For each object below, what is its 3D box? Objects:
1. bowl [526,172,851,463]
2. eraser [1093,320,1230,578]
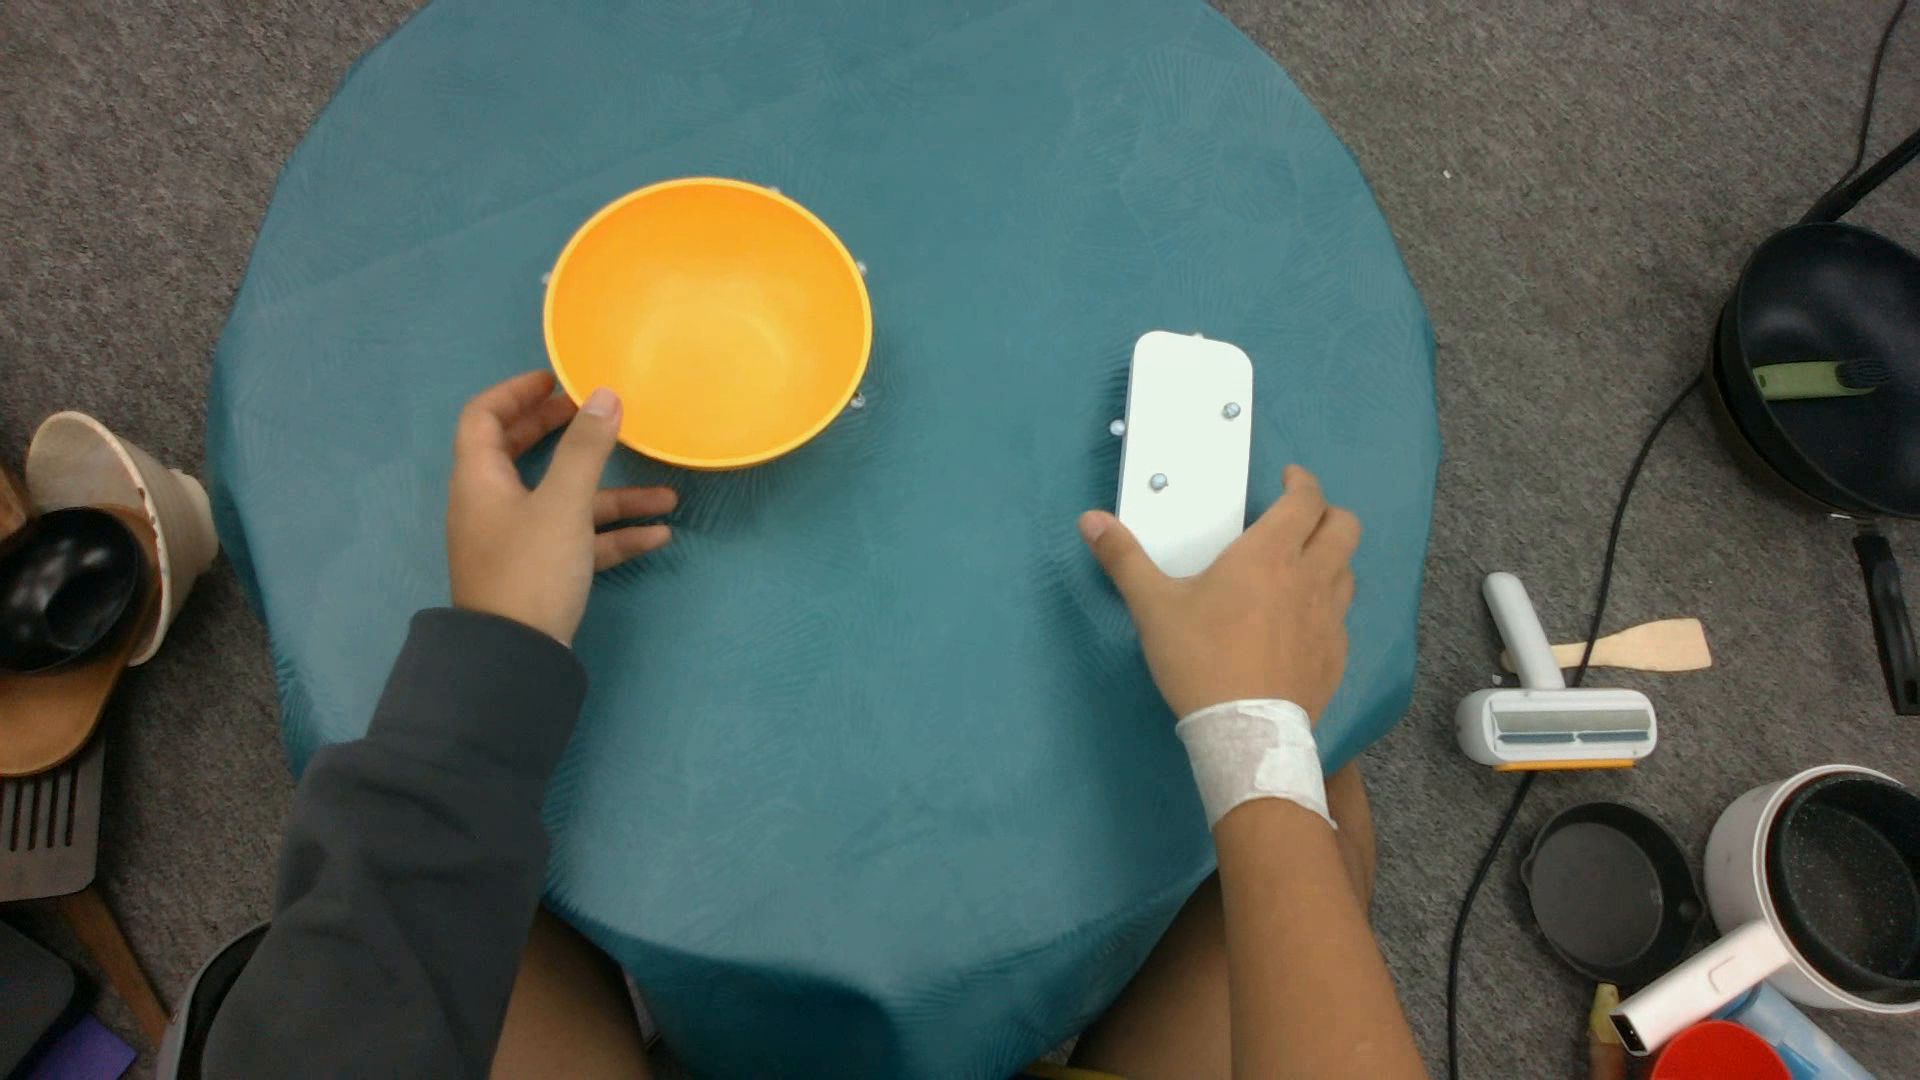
[{"bbox_3d":[-0.125,-0.096,0.649,0.145,0.060,0.145,2,73,-7],"label":"bowl"},{"bbox_3d":[0.098,-0.046,0.679,0.063,0.034,0.132,9,69,-5],"label":"eraser"}]
